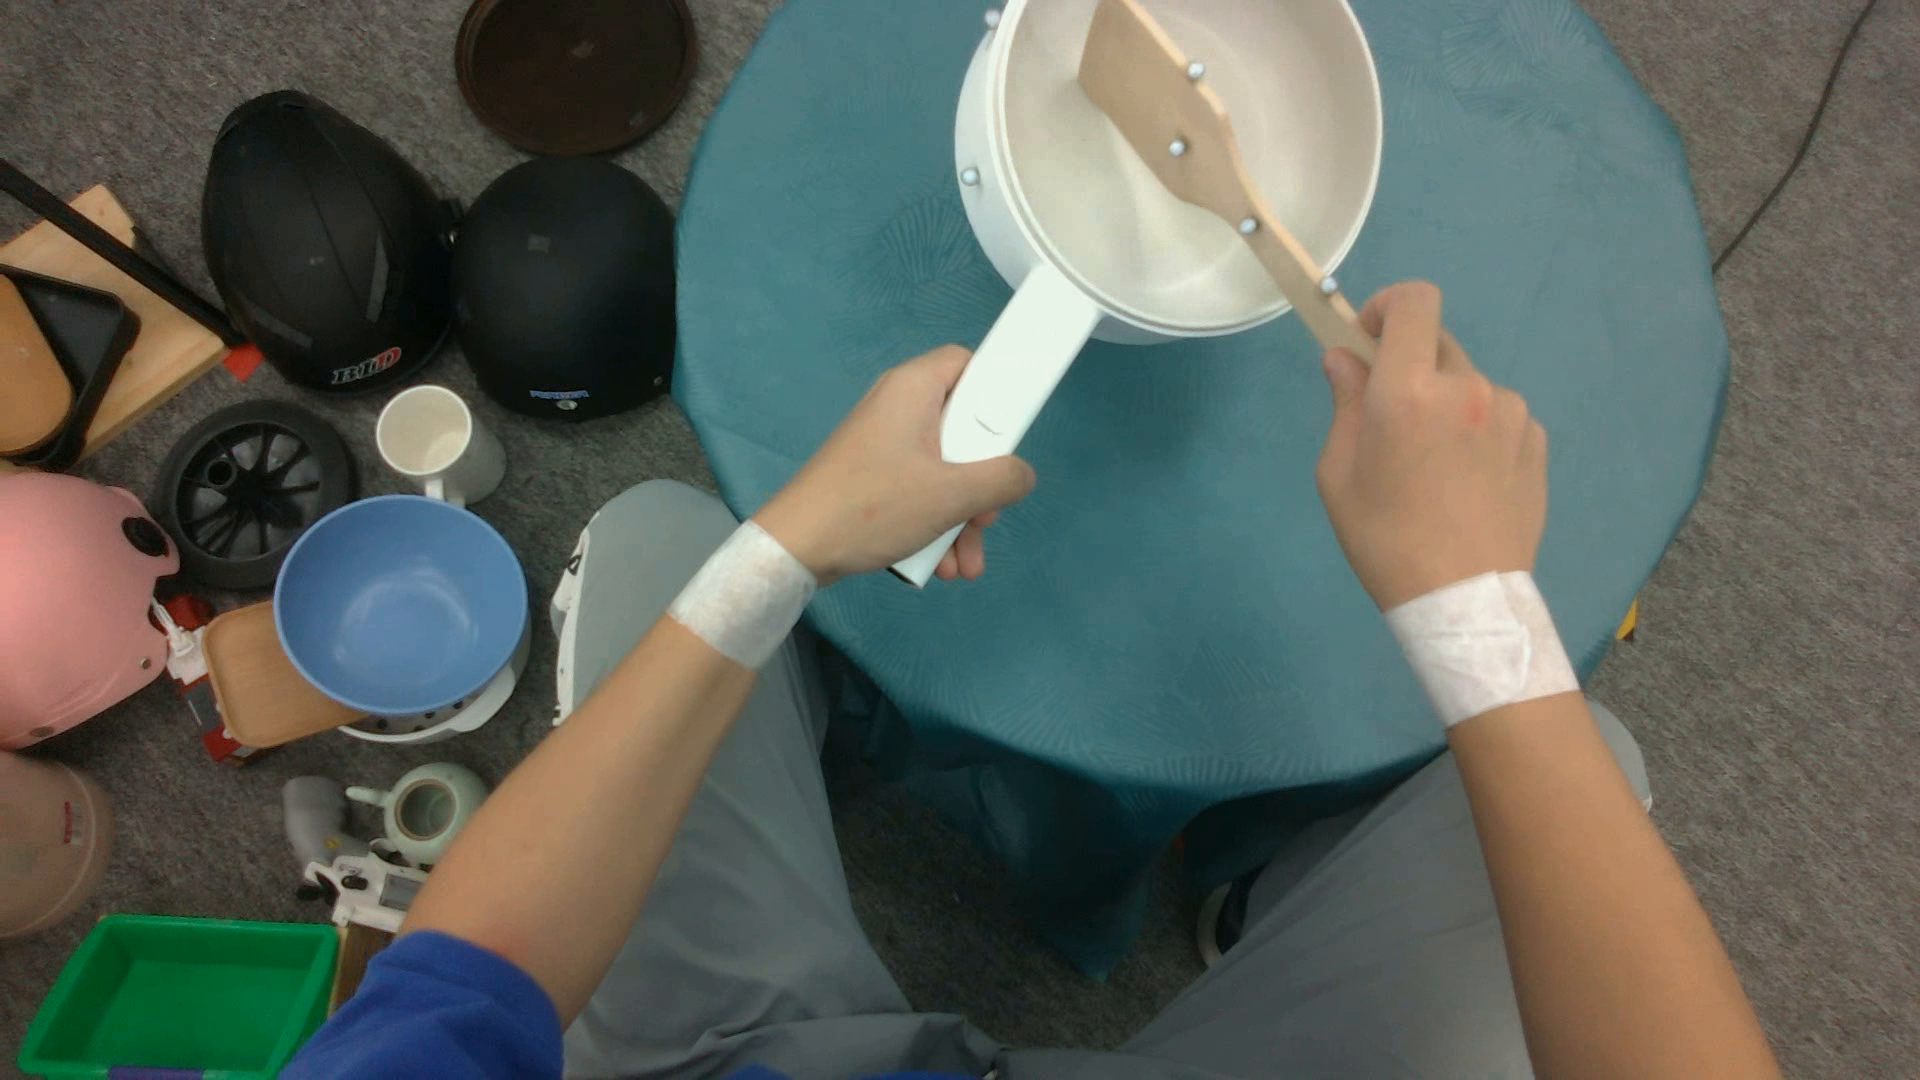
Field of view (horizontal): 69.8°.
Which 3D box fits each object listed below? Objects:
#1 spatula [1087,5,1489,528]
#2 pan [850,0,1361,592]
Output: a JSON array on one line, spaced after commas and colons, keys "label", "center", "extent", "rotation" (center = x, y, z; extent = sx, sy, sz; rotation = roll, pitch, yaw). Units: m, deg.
[{"label": "spatula", "center": [0.150, -0.126, 0.641], "extent": [0.011, 0.072, 0.293], "rotation": [-30, 76, -17]}, {"label": "pan", "center": [0.052, -0.133, 0.695], "extent": [0.201, 0.102, 0.355], "rotation": [35, 82, -15]}]
